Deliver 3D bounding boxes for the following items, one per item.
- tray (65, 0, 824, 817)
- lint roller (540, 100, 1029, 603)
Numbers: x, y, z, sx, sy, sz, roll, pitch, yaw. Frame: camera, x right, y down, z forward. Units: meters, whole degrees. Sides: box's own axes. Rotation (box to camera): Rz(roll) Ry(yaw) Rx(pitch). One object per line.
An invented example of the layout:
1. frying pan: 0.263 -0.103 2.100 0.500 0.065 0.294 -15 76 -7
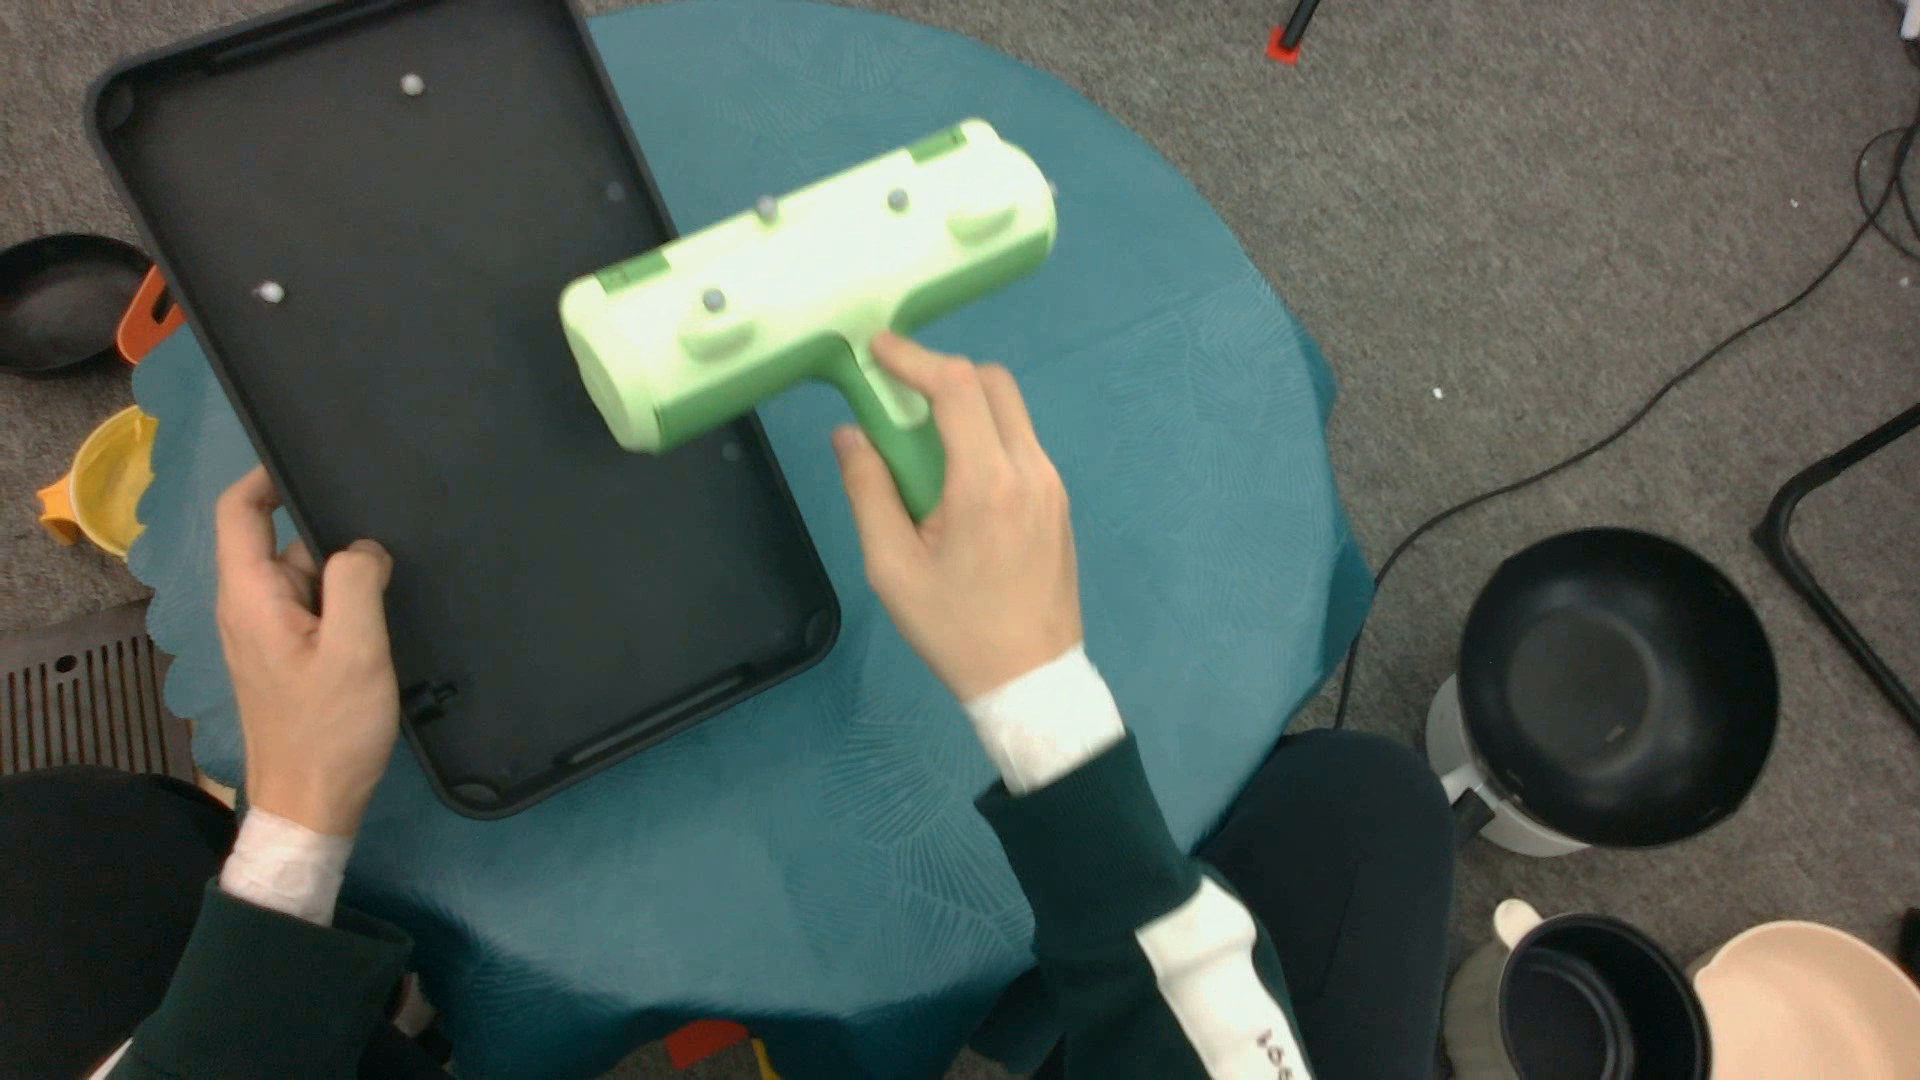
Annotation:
1. tray: -0.196 -0.061 0.568 0.185 0.037 0.317 -26 104 -16
2. lint roller: -0.028 -0.061 0.525 0.199 0.082 0.183 -32 86 -25
